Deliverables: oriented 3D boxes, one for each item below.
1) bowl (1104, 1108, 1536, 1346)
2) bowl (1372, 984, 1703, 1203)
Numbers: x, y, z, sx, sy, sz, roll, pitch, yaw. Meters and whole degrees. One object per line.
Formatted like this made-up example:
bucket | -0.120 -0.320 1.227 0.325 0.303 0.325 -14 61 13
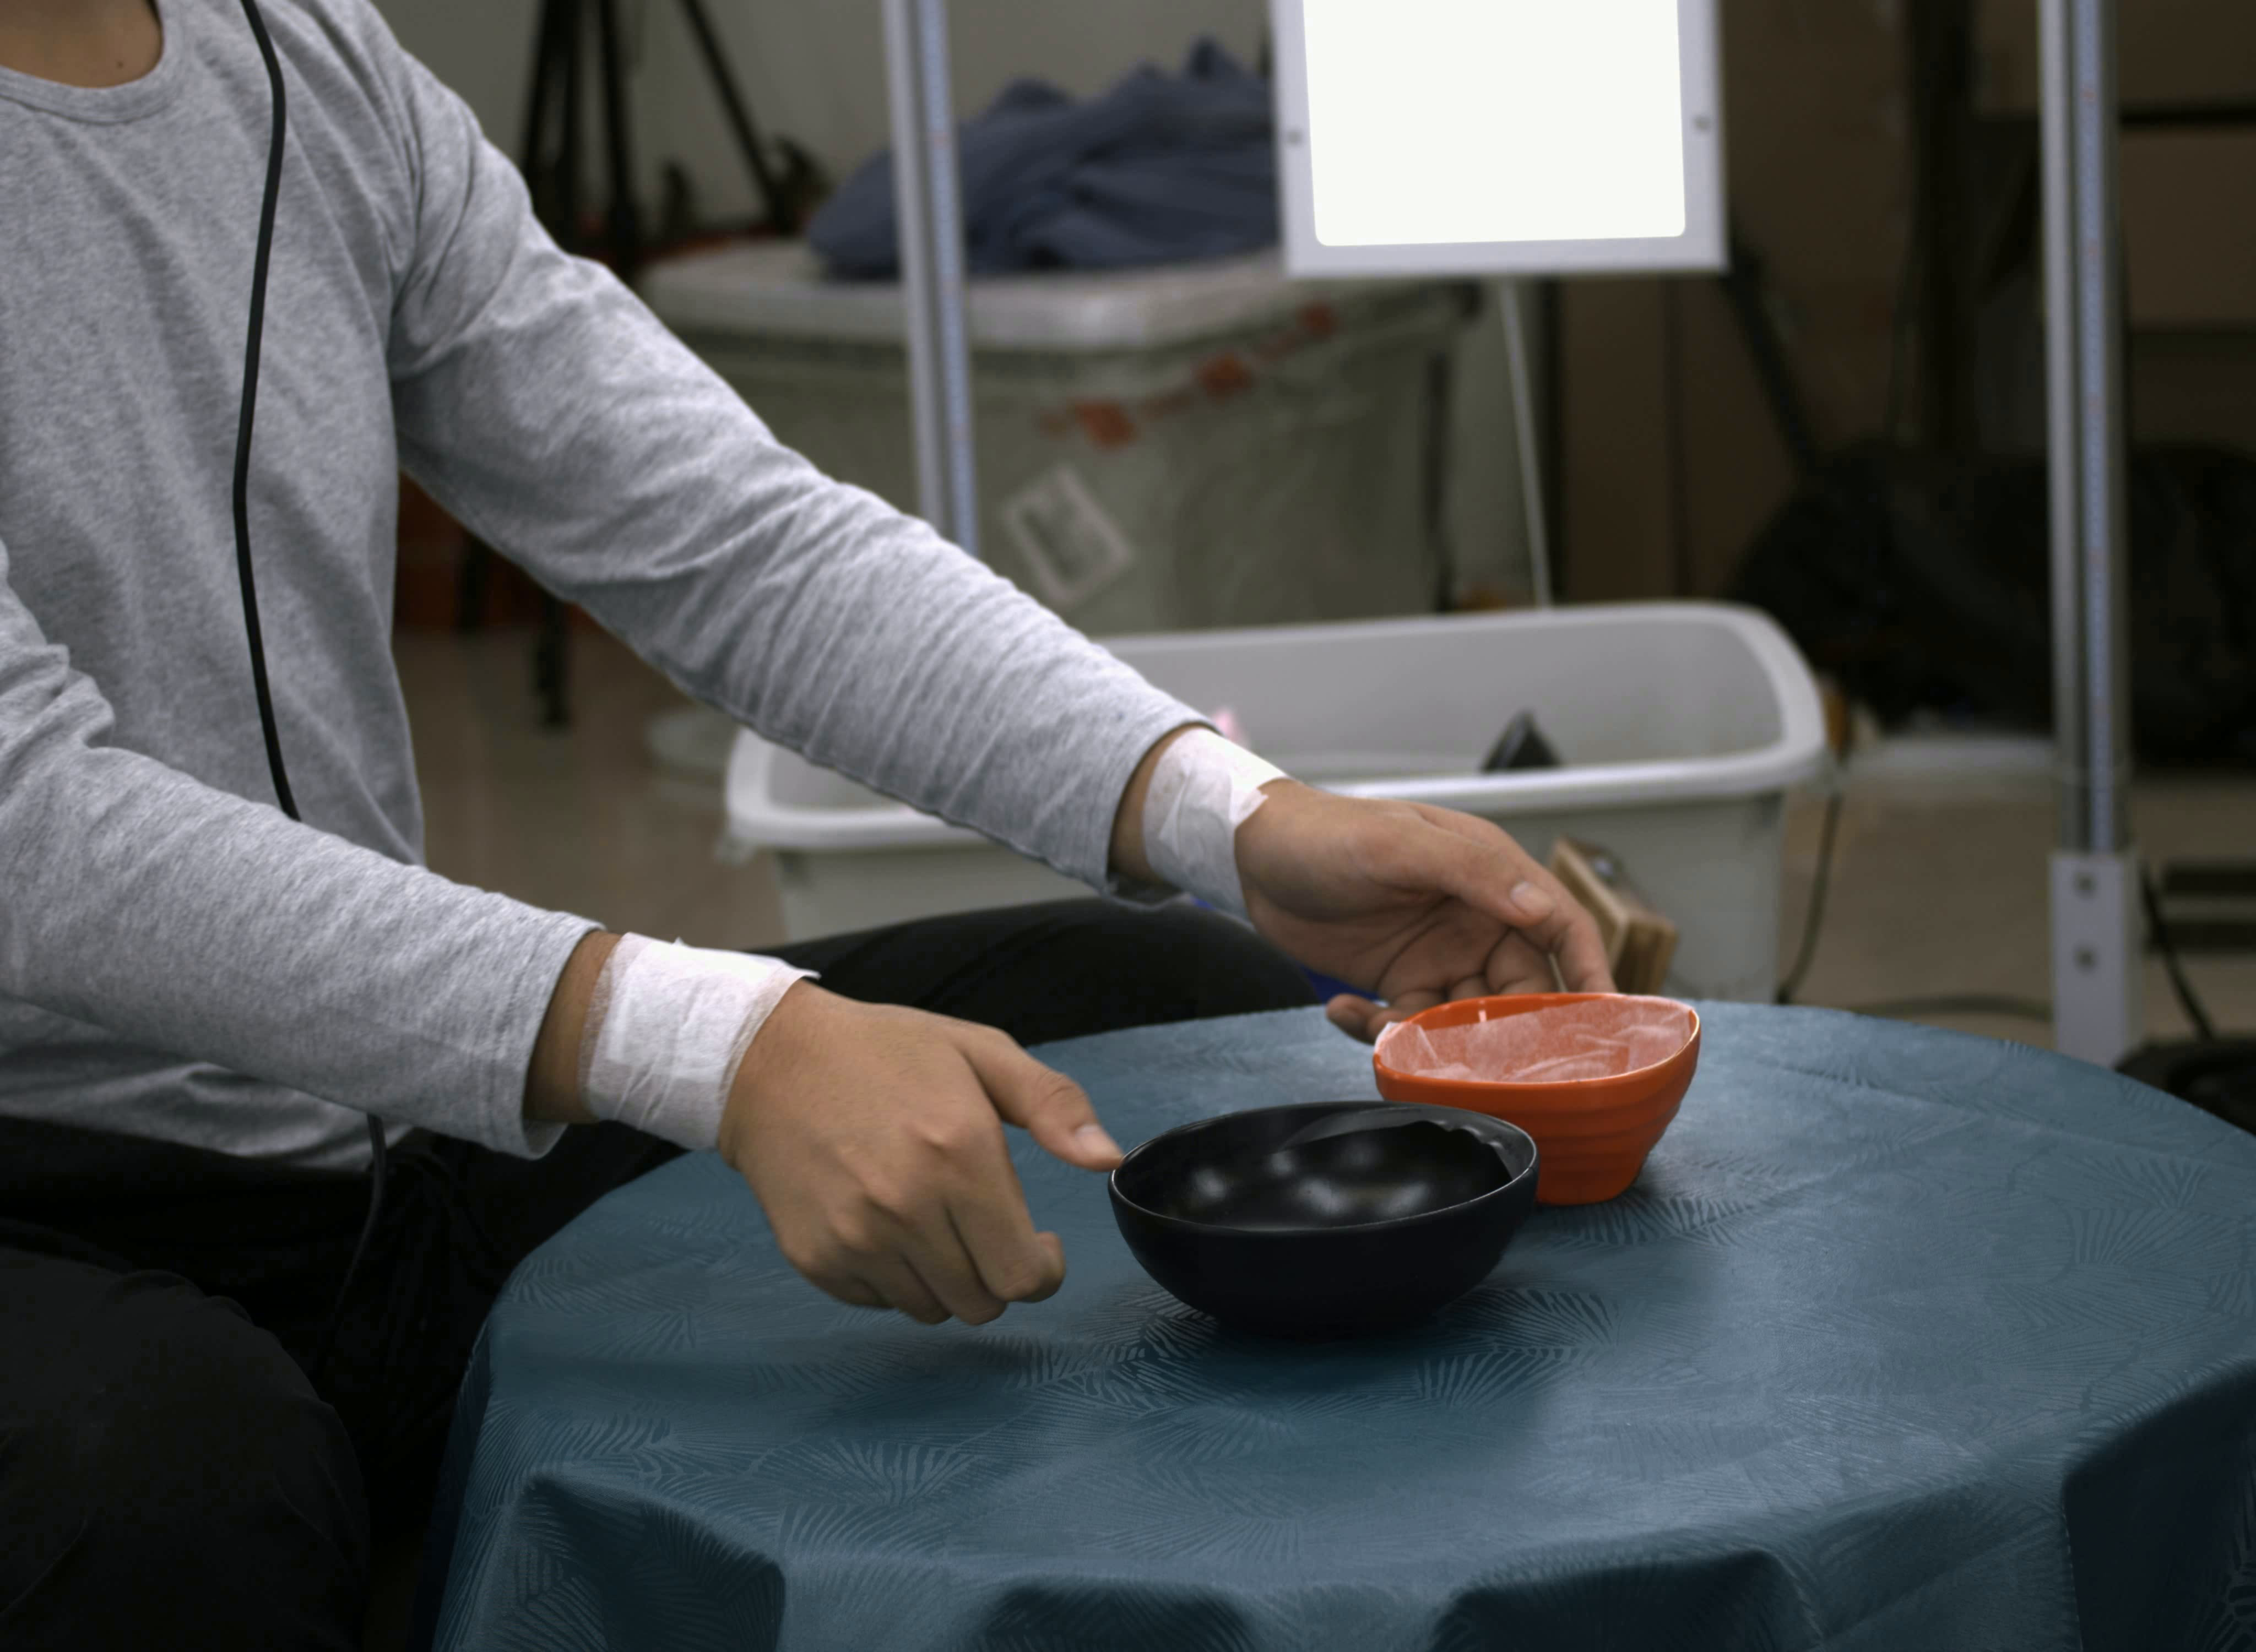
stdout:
bowl | 0.064 0.132 1.759 0.140 0.050 0.140 -7 12 0
bowl | 0.141 0.093 1.874 0.118 0.051 0.119 -4 16 0
